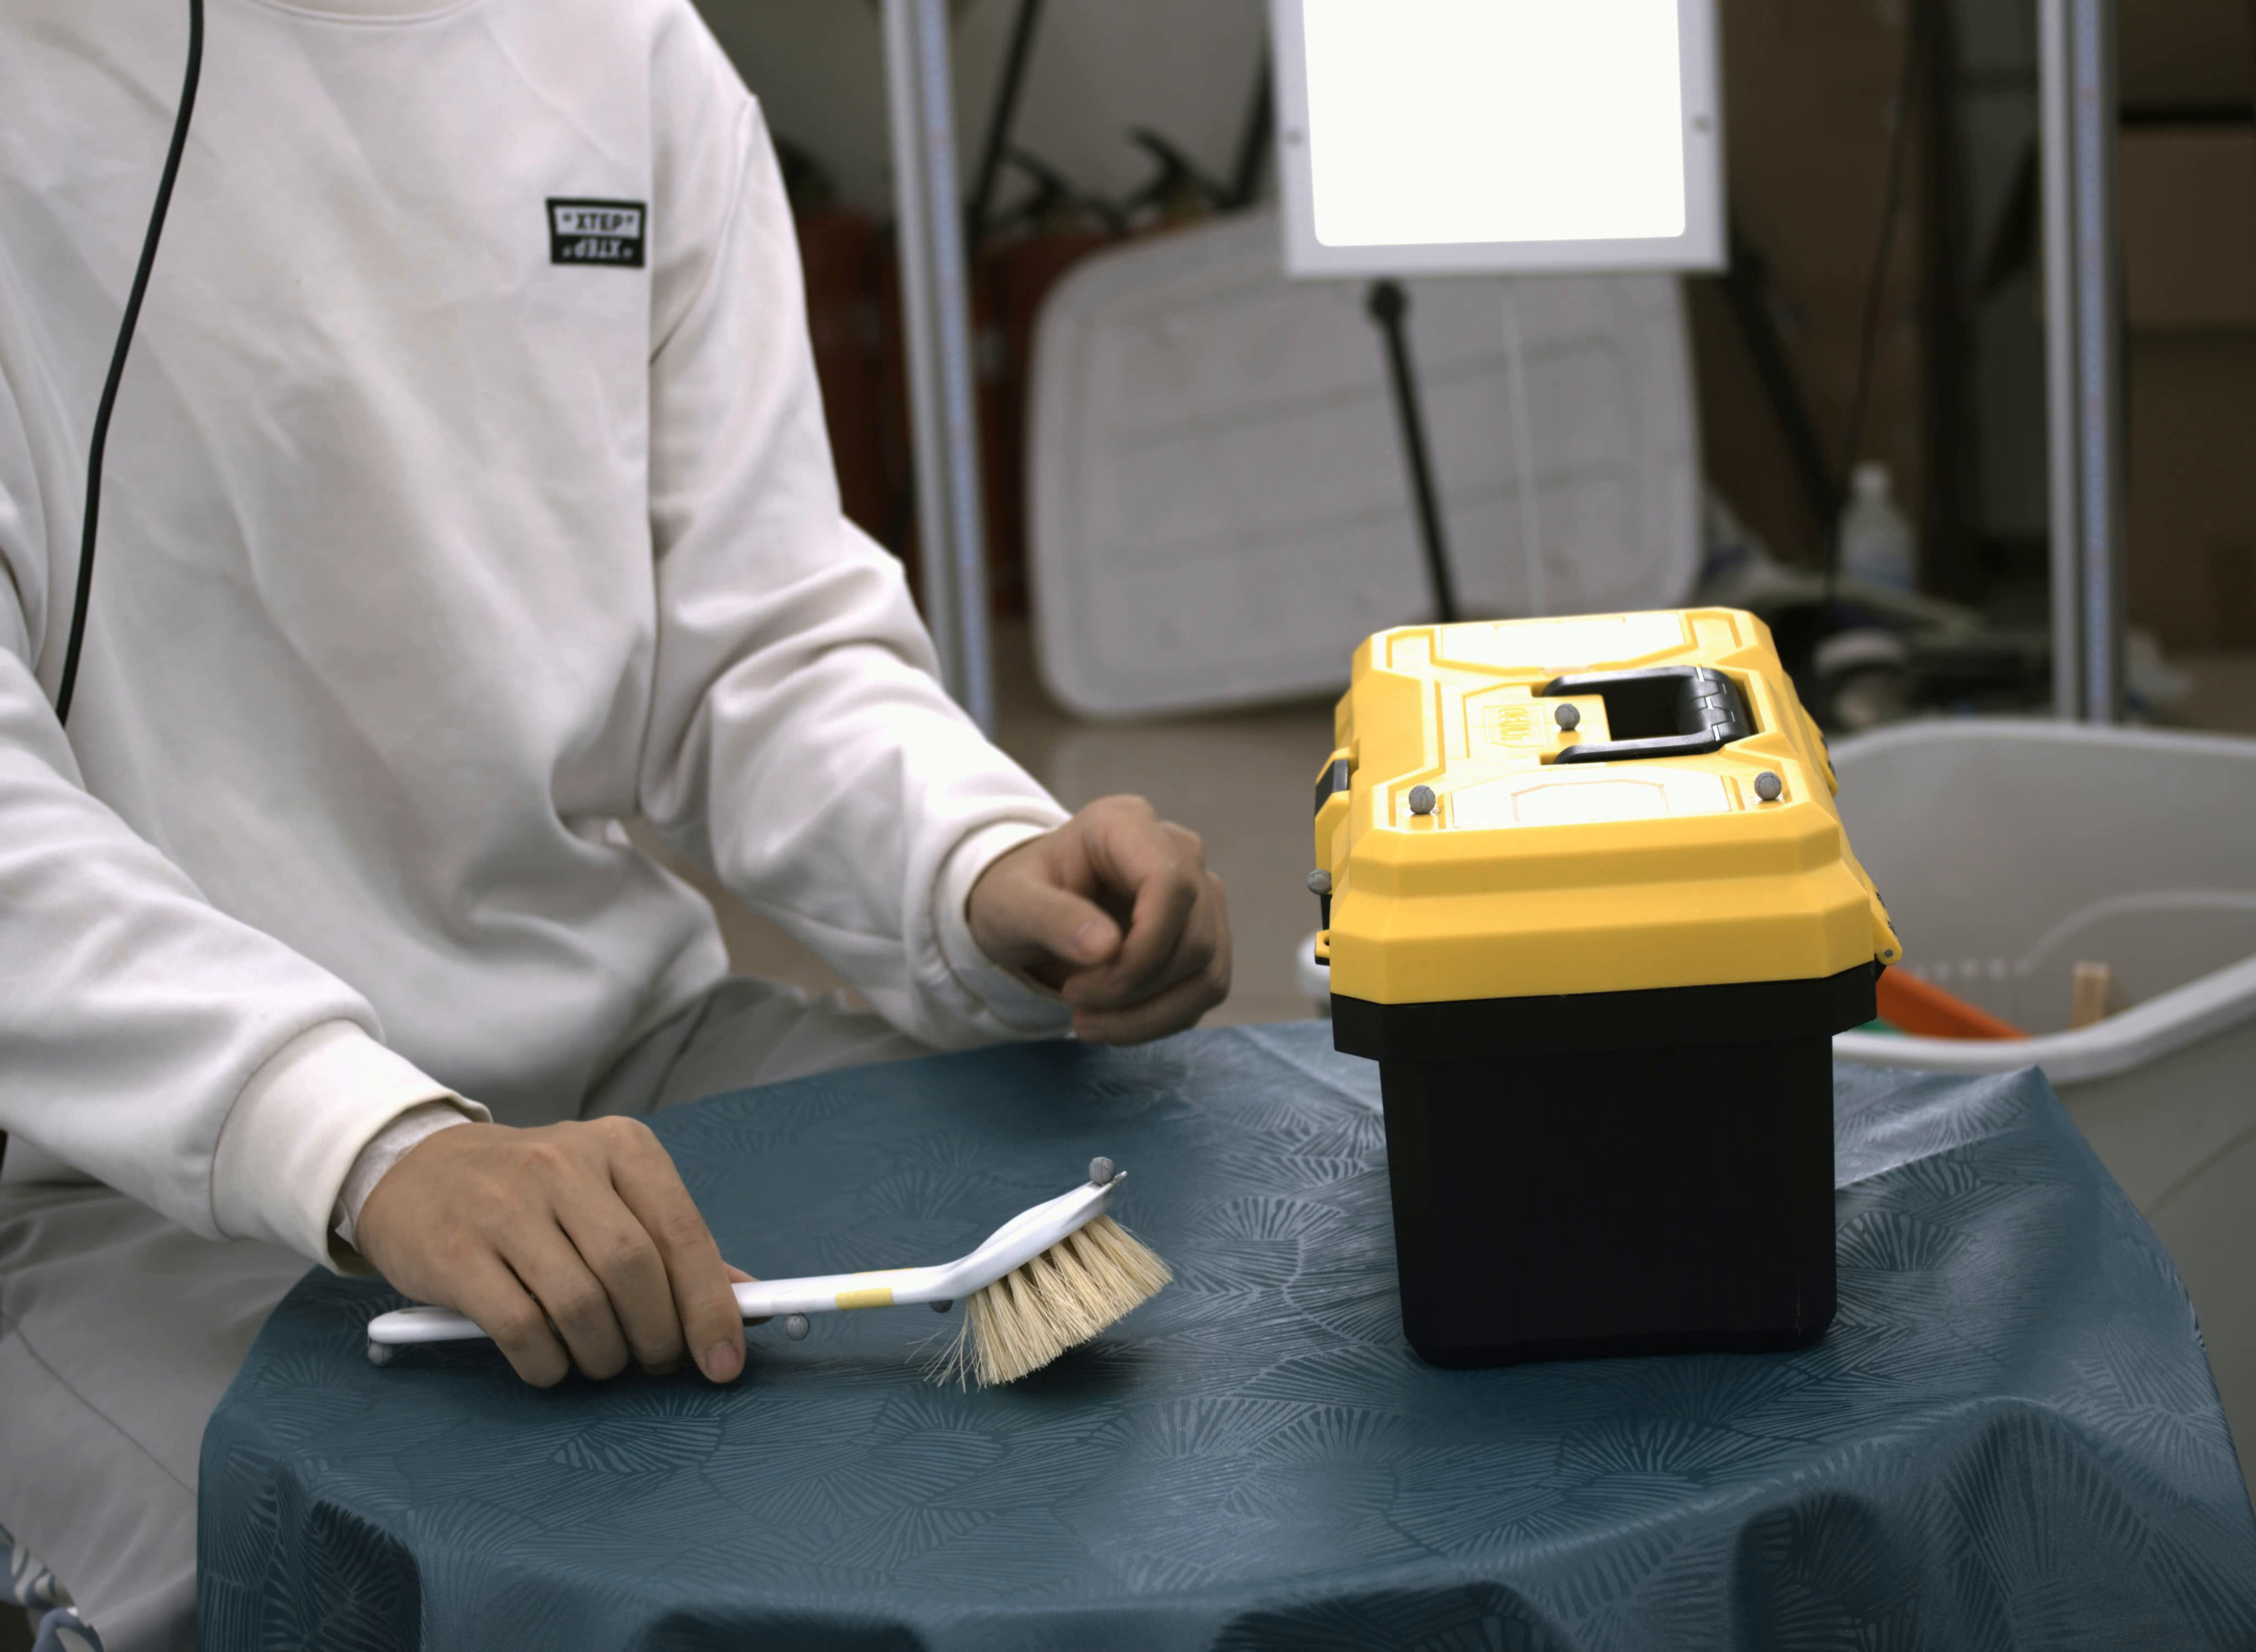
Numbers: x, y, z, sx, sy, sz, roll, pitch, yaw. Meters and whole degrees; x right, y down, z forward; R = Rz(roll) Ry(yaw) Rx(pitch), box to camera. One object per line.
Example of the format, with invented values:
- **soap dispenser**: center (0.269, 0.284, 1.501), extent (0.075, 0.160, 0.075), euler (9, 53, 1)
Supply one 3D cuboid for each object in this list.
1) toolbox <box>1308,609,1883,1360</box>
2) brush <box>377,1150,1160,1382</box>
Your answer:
- **toolbox**: center (0.151, 0.044, 1.812), extent (0.181, 0.173, 0.349), euler (-3, 13, 4)
- **brush**: center (-0.114, 0.163, 1.757), extent (0.270, 0.056, 0.067), euler (-17, -11, 18)
